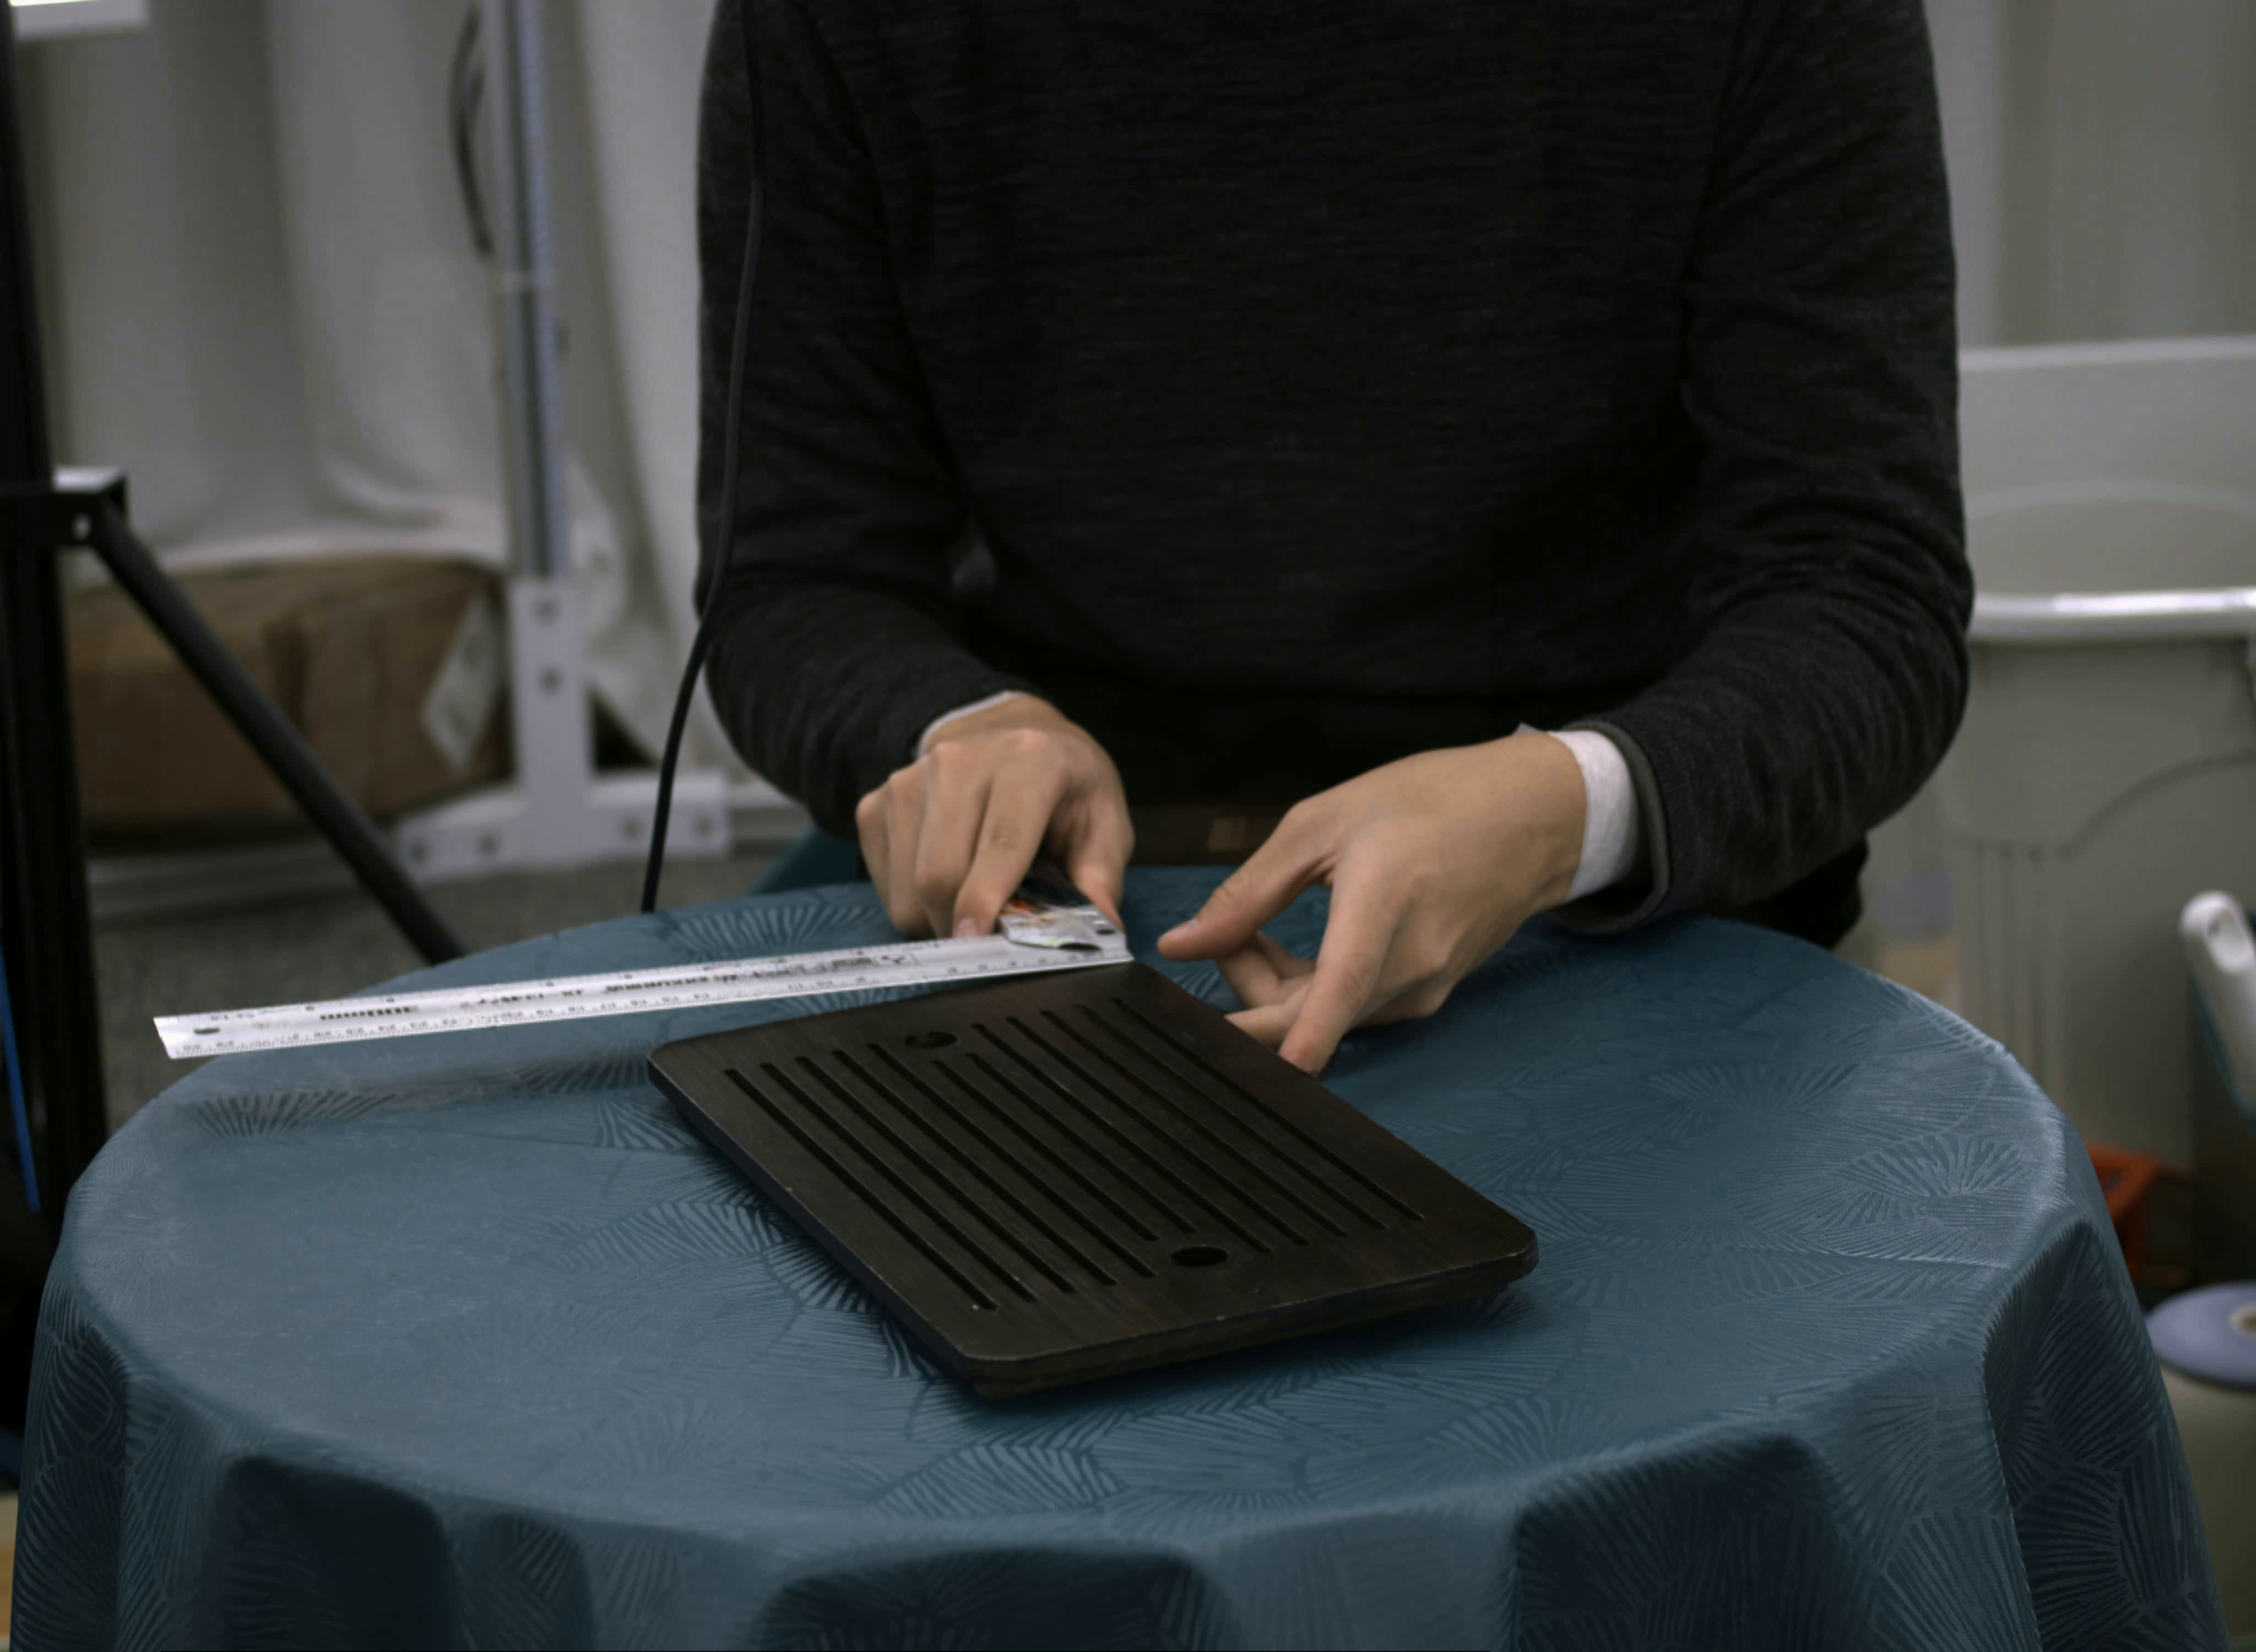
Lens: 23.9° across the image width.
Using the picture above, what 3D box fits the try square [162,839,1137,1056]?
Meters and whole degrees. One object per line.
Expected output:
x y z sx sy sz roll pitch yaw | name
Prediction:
-0.163 0.040 1.743 0.308 0.016 0.154 -5 14 -13 | try square

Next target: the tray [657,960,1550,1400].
-0.015 0.099 1.551 0.167 0.018 0.311 -11 17 -19 | tray
